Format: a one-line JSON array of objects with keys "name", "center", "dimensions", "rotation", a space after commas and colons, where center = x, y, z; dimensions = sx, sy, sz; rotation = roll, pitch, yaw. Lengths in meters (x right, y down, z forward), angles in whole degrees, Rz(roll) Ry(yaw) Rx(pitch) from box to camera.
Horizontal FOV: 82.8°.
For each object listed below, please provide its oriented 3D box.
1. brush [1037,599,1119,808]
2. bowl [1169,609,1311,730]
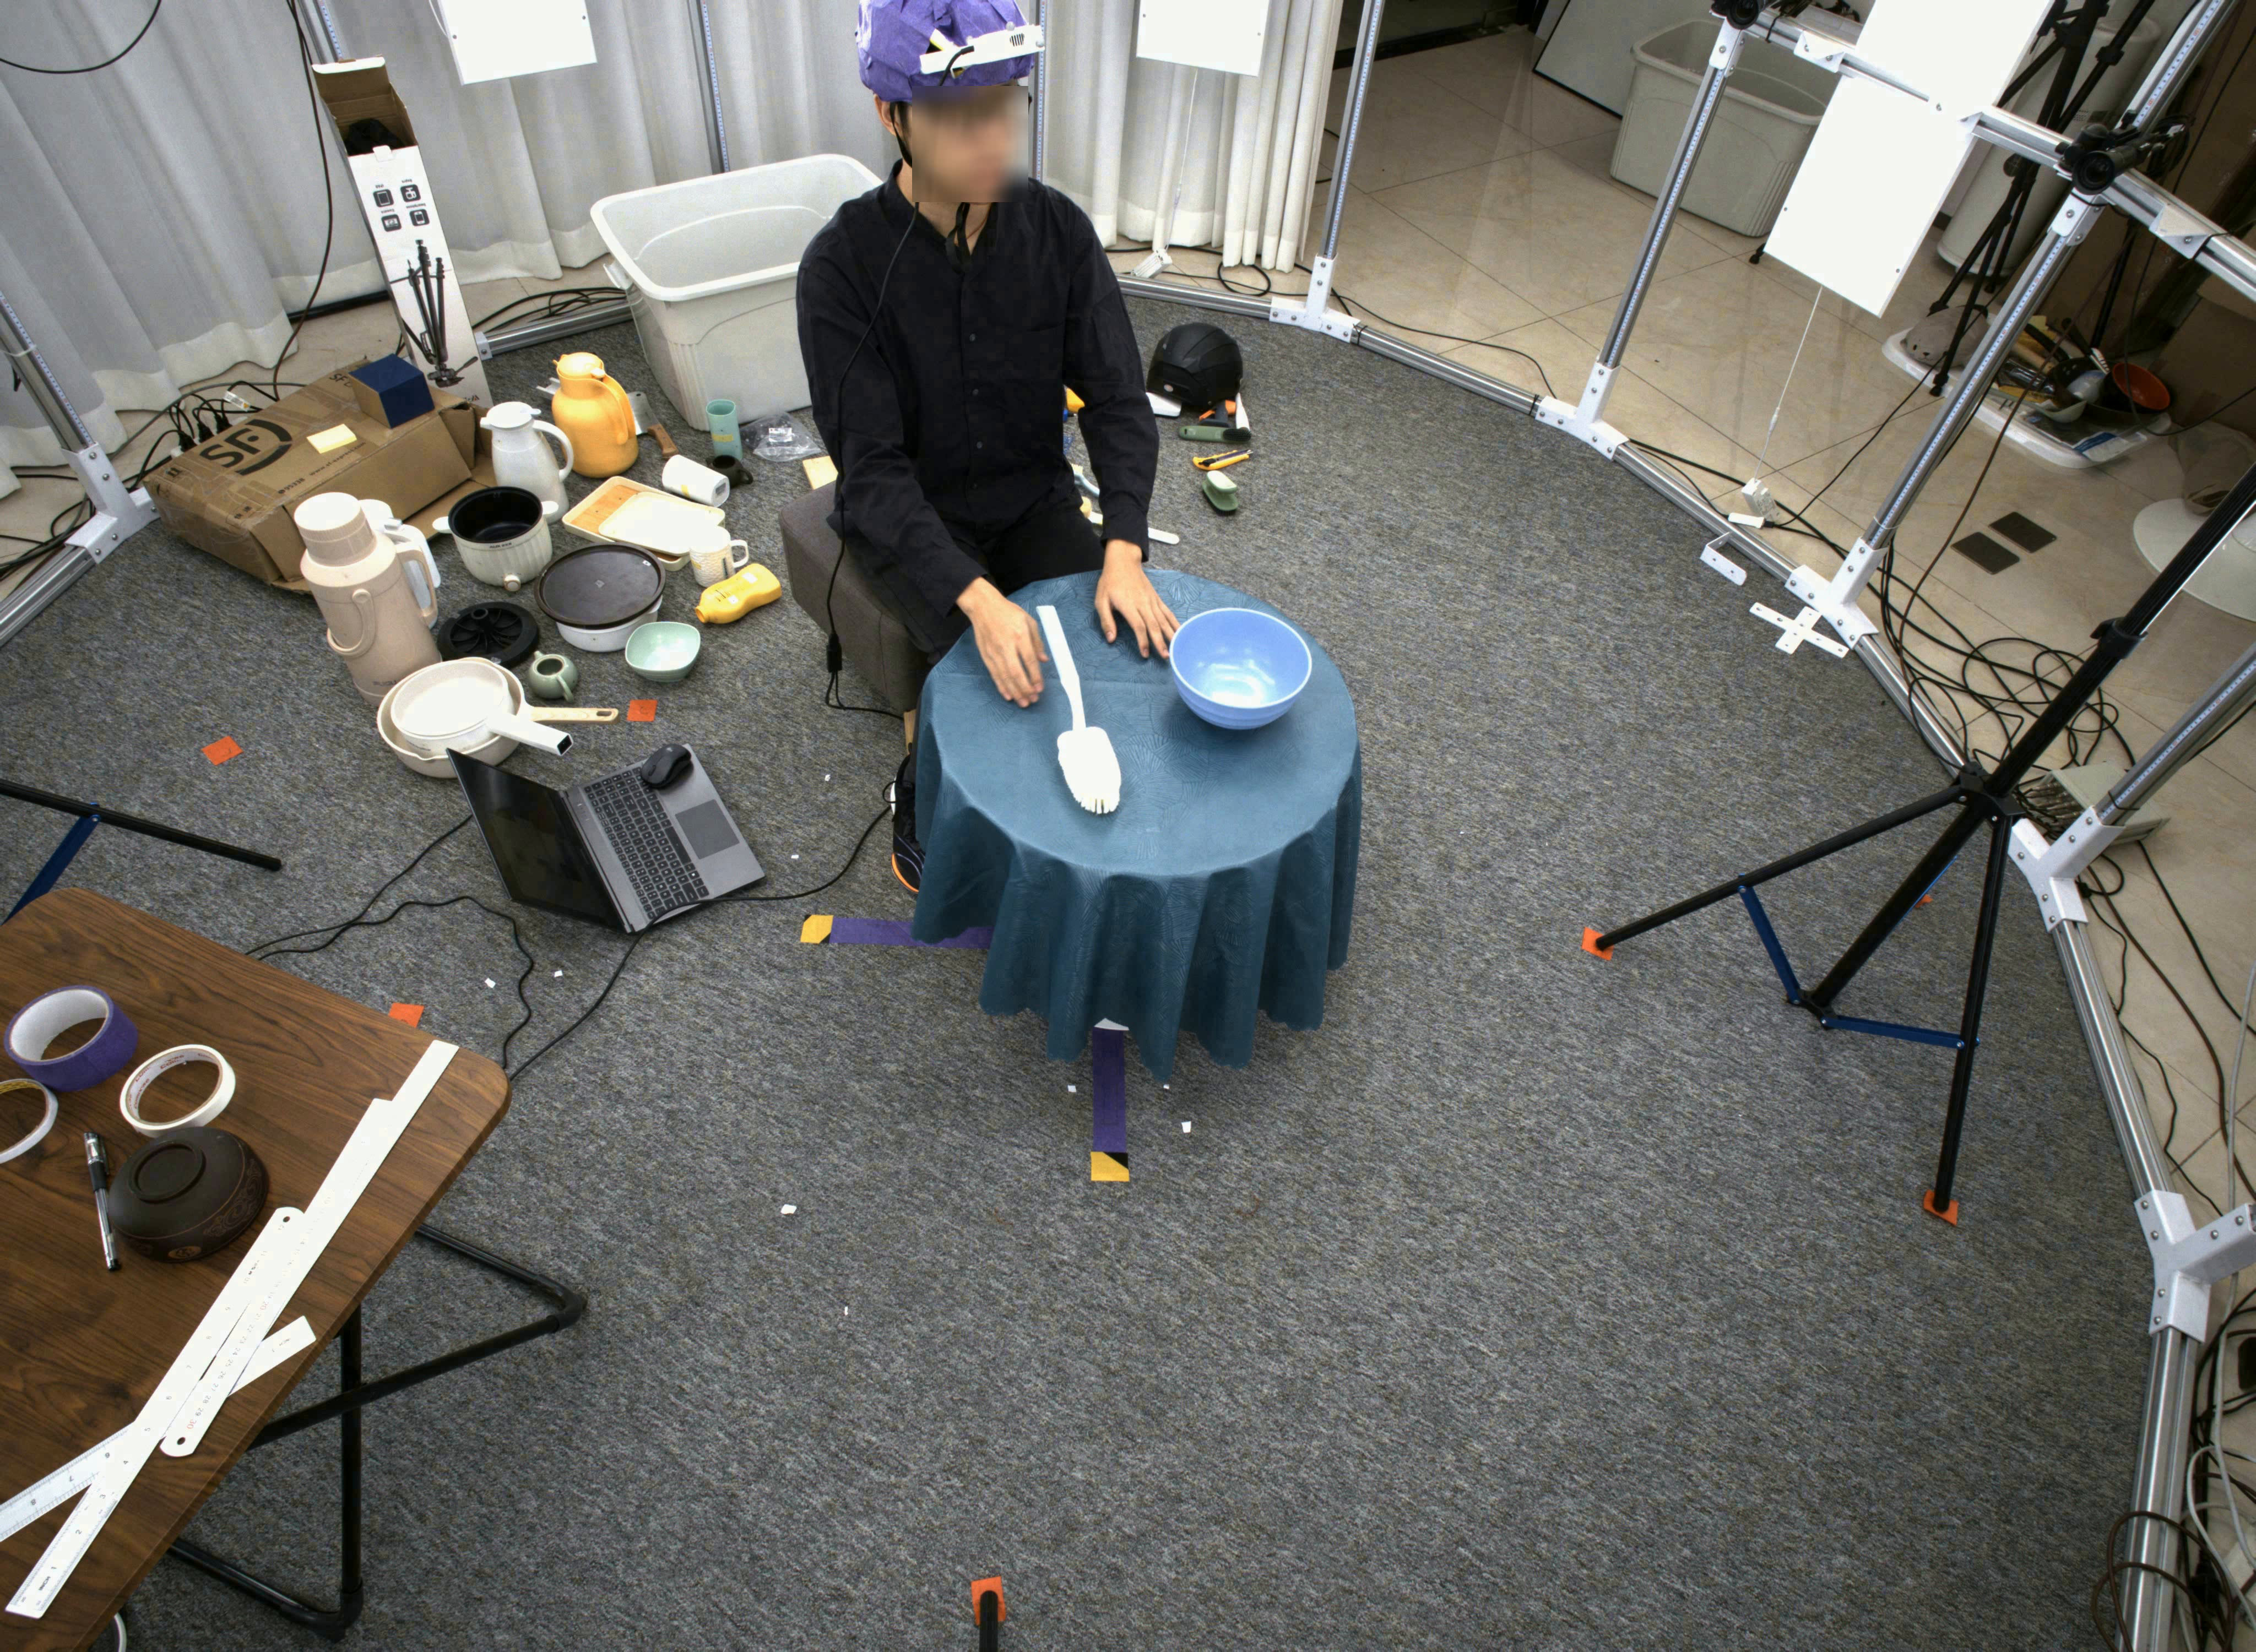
[{"name": "brush", "center": [-0.072, -0.164, 1.751], "dimensions": [0.082, 0.083, 0.332], "rotation": [12, 51, -45]}, {"name": "bowl", "center": [0.151, -0.203, 1.798], "dimensions": [0.196, 0.093, 0.201], "rotation": [2, 50, -2]}]
